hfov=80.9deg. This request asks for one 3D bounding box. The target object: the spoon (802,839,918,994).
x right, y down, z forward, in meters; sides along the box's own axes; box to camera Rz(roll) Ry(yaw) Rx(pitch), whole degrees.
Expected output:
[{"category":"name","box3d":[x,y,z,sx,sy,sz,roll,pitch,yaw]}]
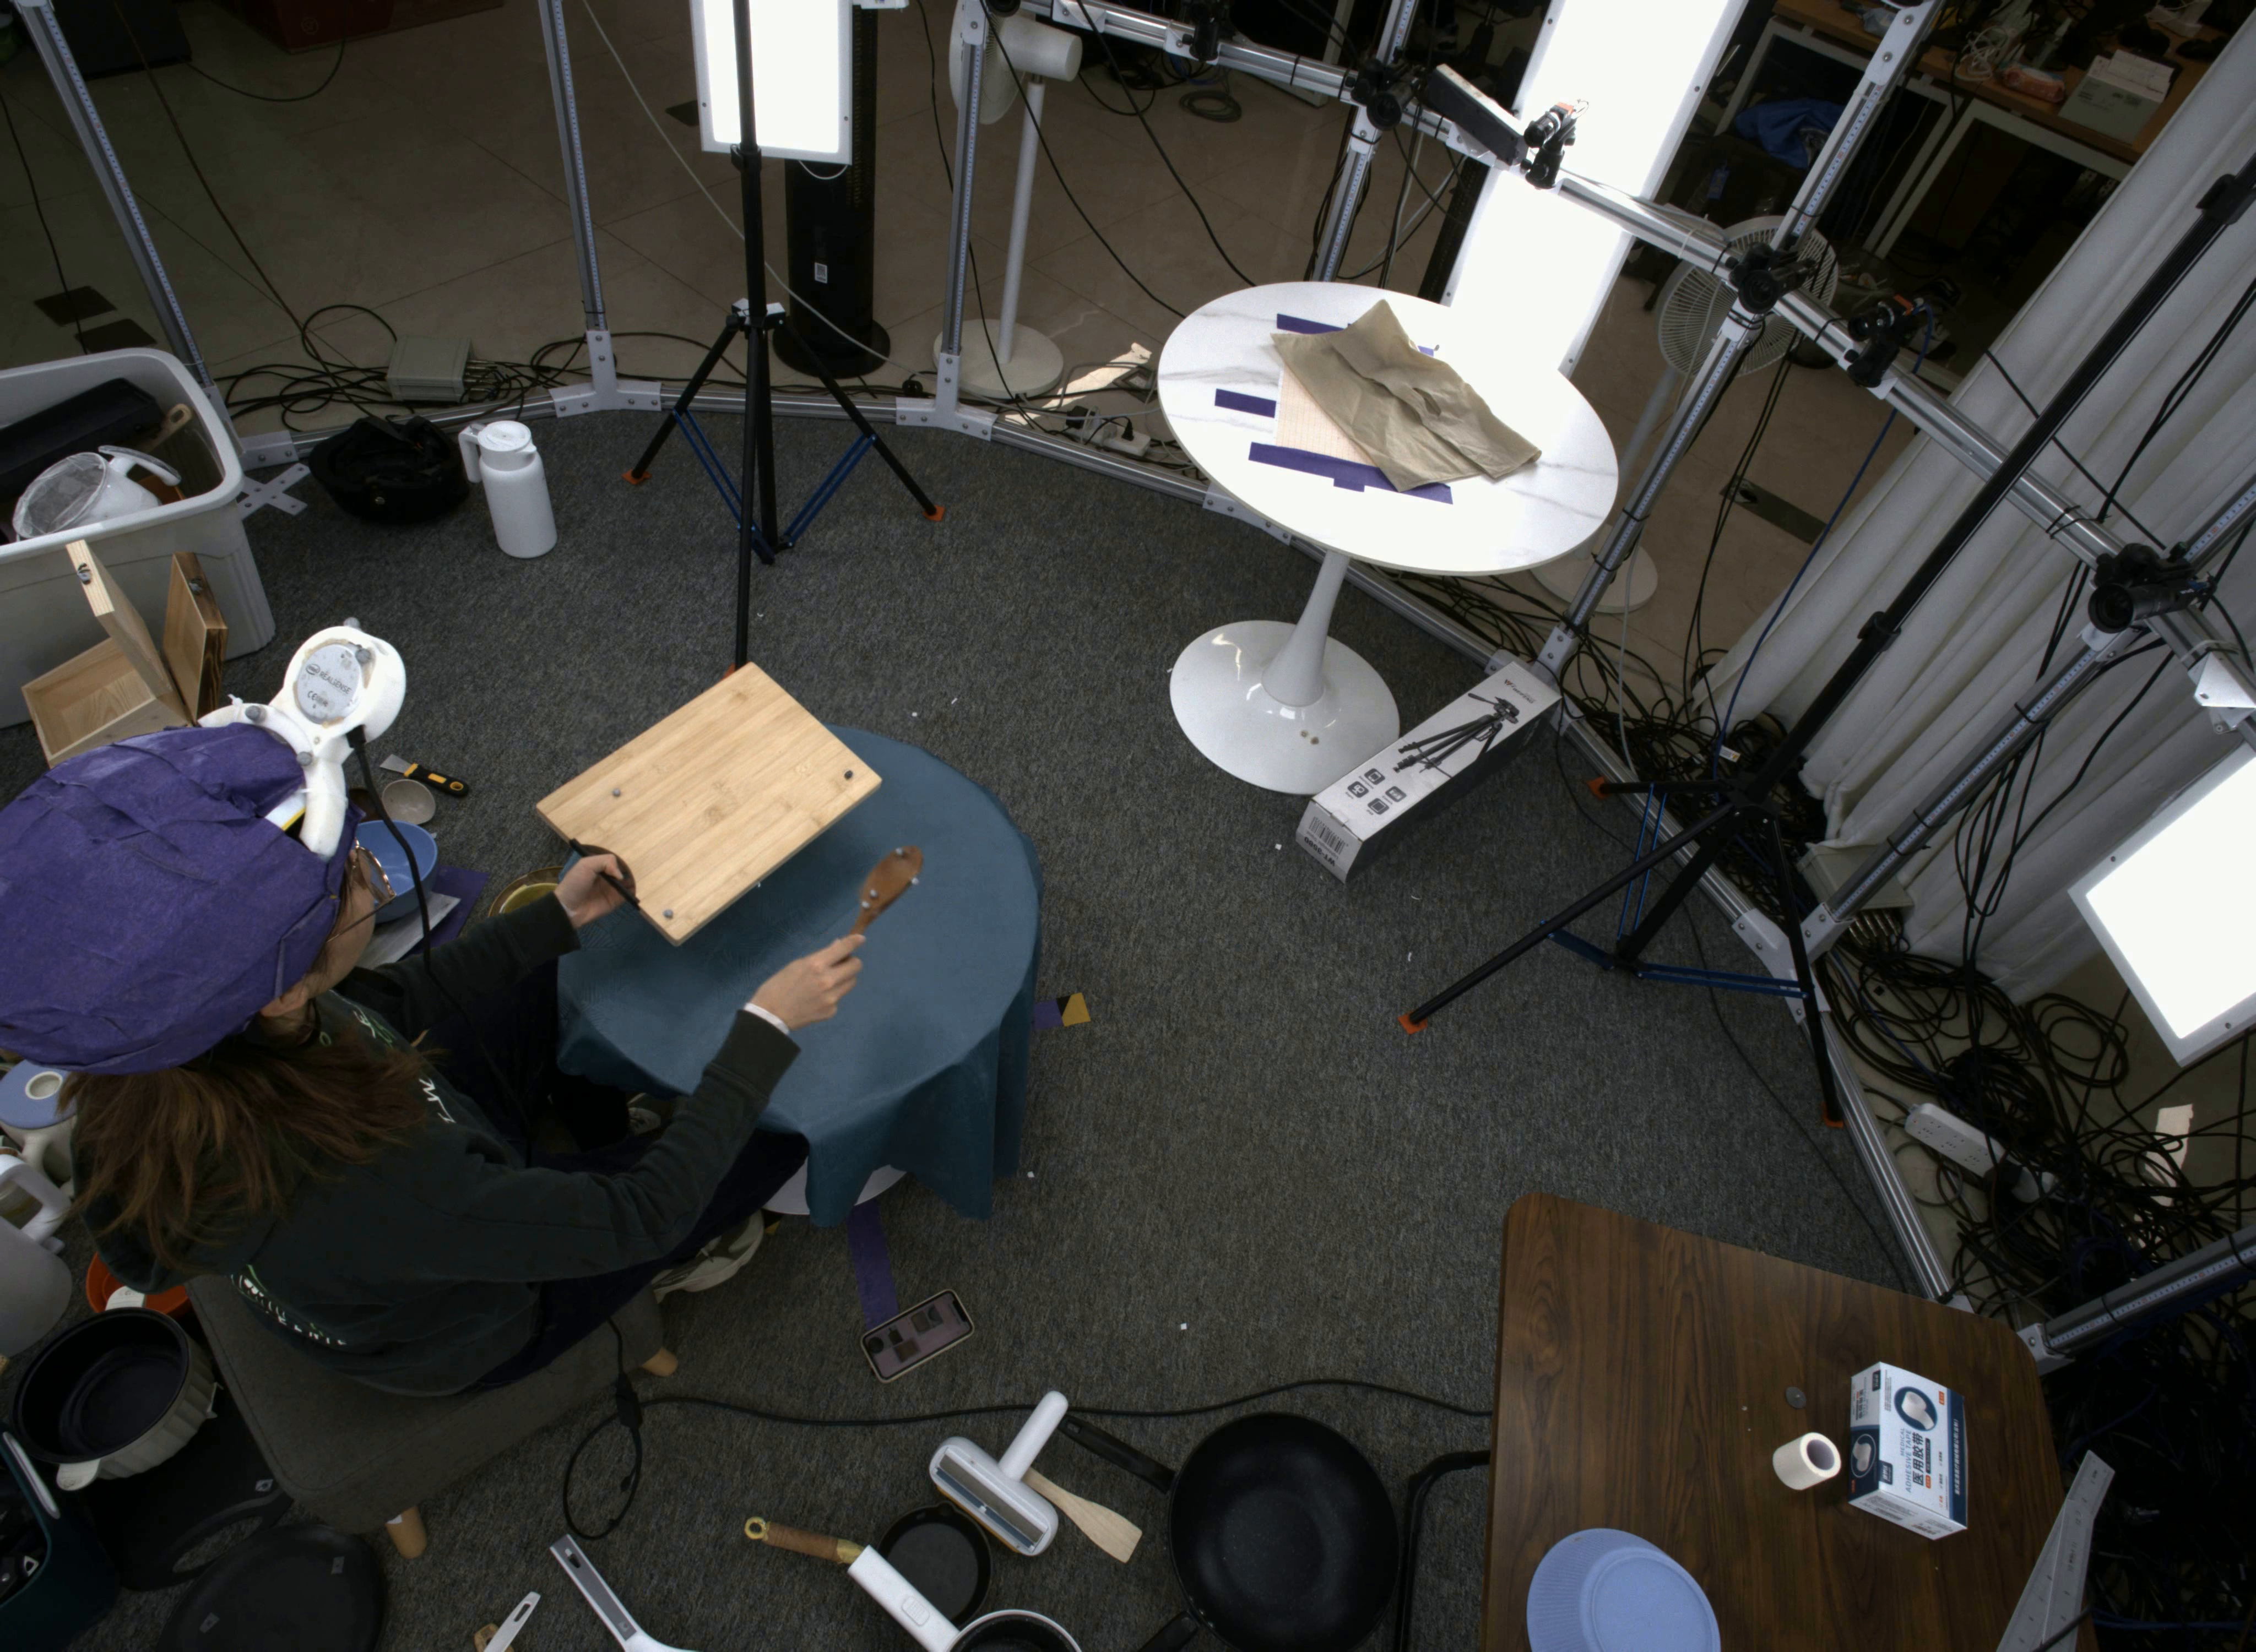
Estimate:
[{"category":"spoon","box3d":[-0.294,0.094,1.417,0.073,0.018,0.214,0,46,34]}]

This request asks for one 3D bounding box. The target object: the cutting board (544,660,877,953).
[{"category":"cutting board","box3d":[-0.509,-0.035,1.573,0.249,0.024,0.348,41,54,5]}]
